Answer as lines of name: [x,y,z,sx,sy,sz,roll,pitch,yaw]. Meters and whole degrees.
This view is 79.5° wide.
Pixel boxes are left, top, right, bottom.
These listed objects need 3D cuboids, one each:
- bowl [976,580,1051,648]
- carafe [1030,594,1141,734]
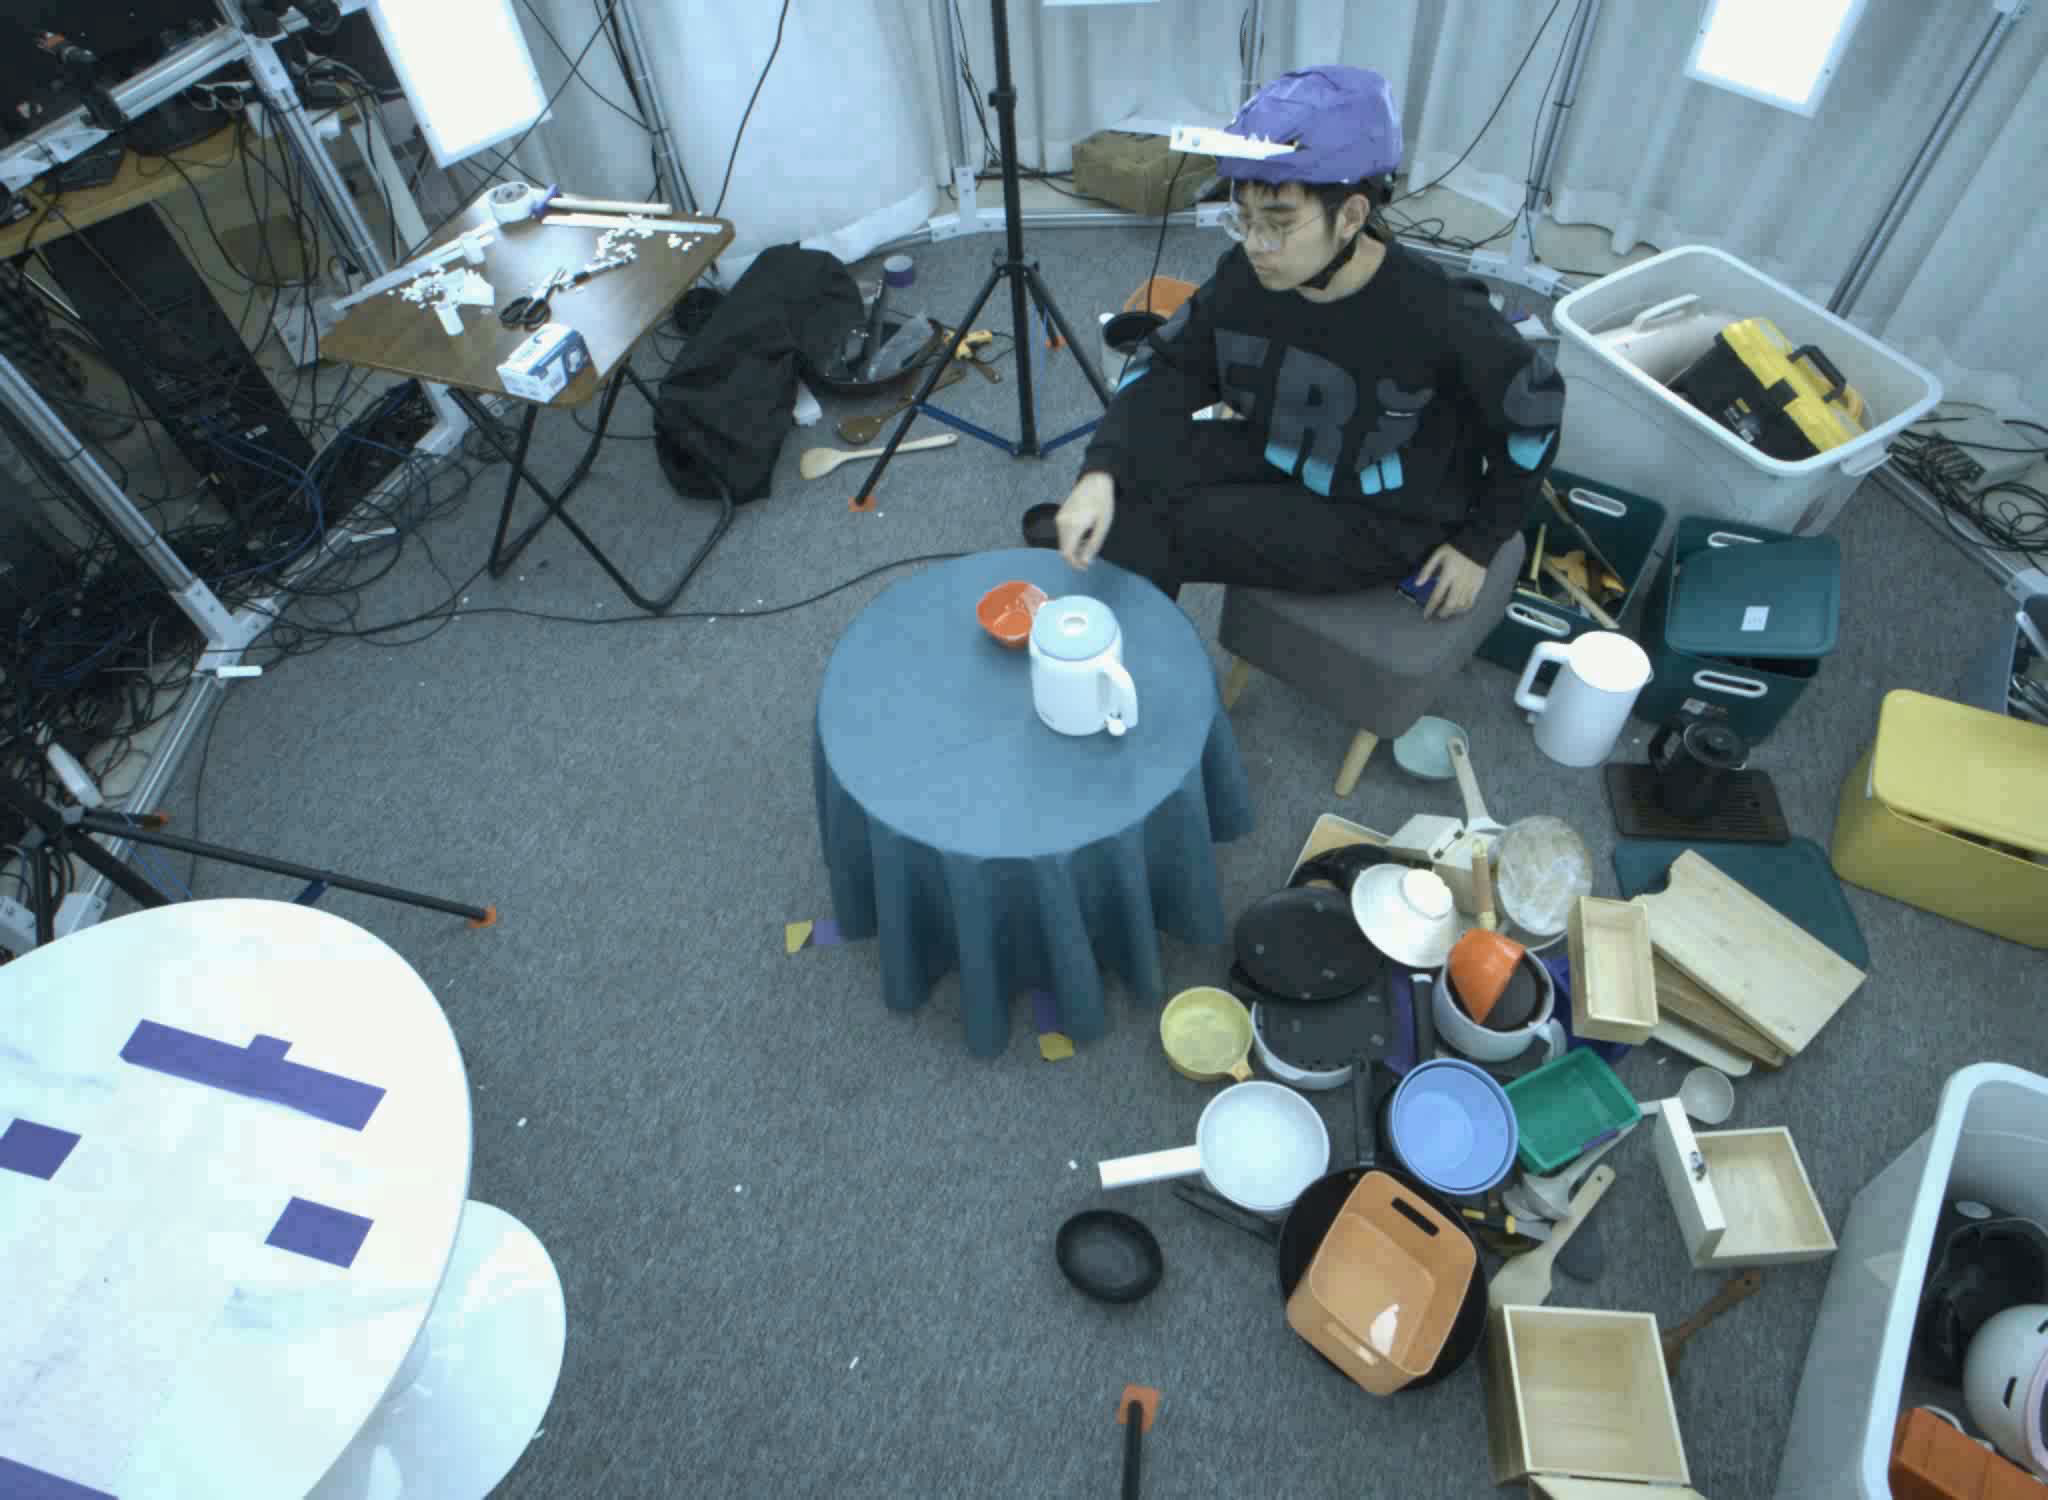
bowl: [-0.012,-0.203,1.894,0.118,0.052,0.117,-2,55,4]
carafe: [0.093,-0.108,1.751,0.133,0.184,0.188,-40,64,-21]
